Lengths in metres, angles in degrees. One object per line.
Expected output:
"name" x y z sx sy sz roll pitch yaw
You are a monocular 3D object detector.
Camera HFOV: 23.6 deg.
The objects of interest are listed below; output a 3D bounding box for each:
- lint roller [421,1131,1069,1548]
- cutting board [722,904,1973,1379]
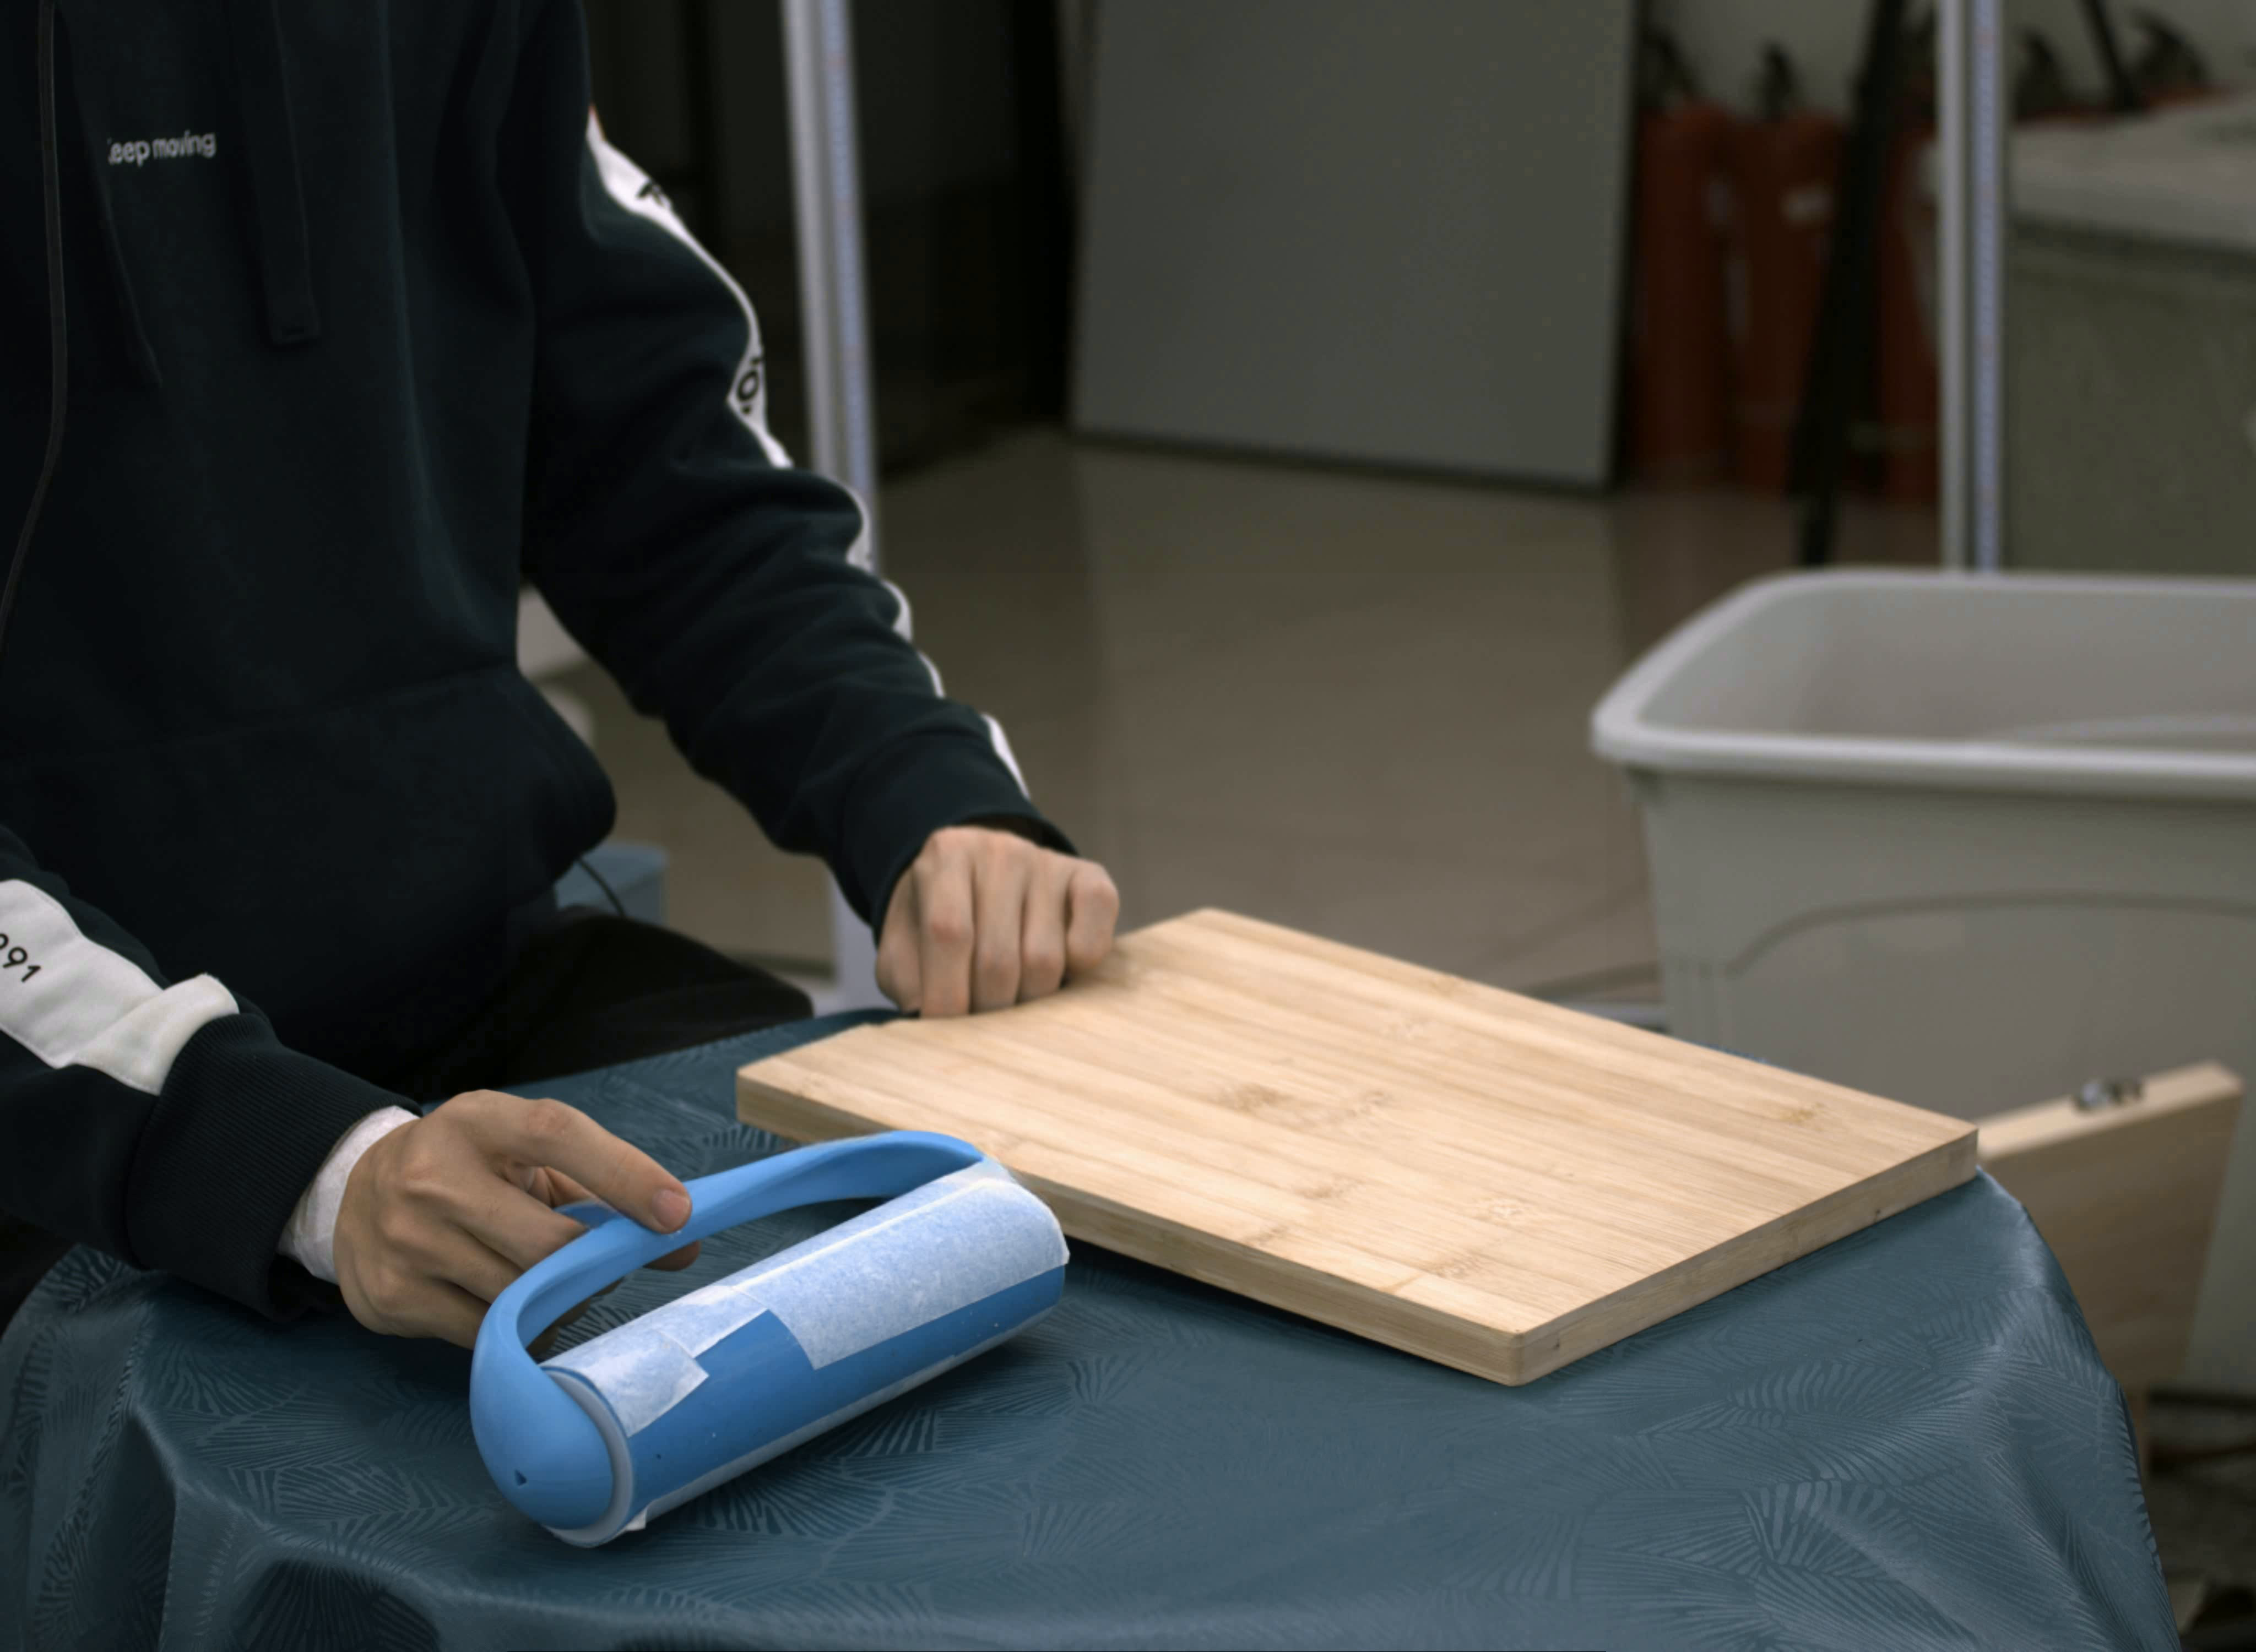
"lint roller" -0.143 0.141 1.594 0.181 0.068 0.225 9 21 35
"cutting board" 0.068 0.096 1.765 0.352 0.024 0.245 15 23 41
